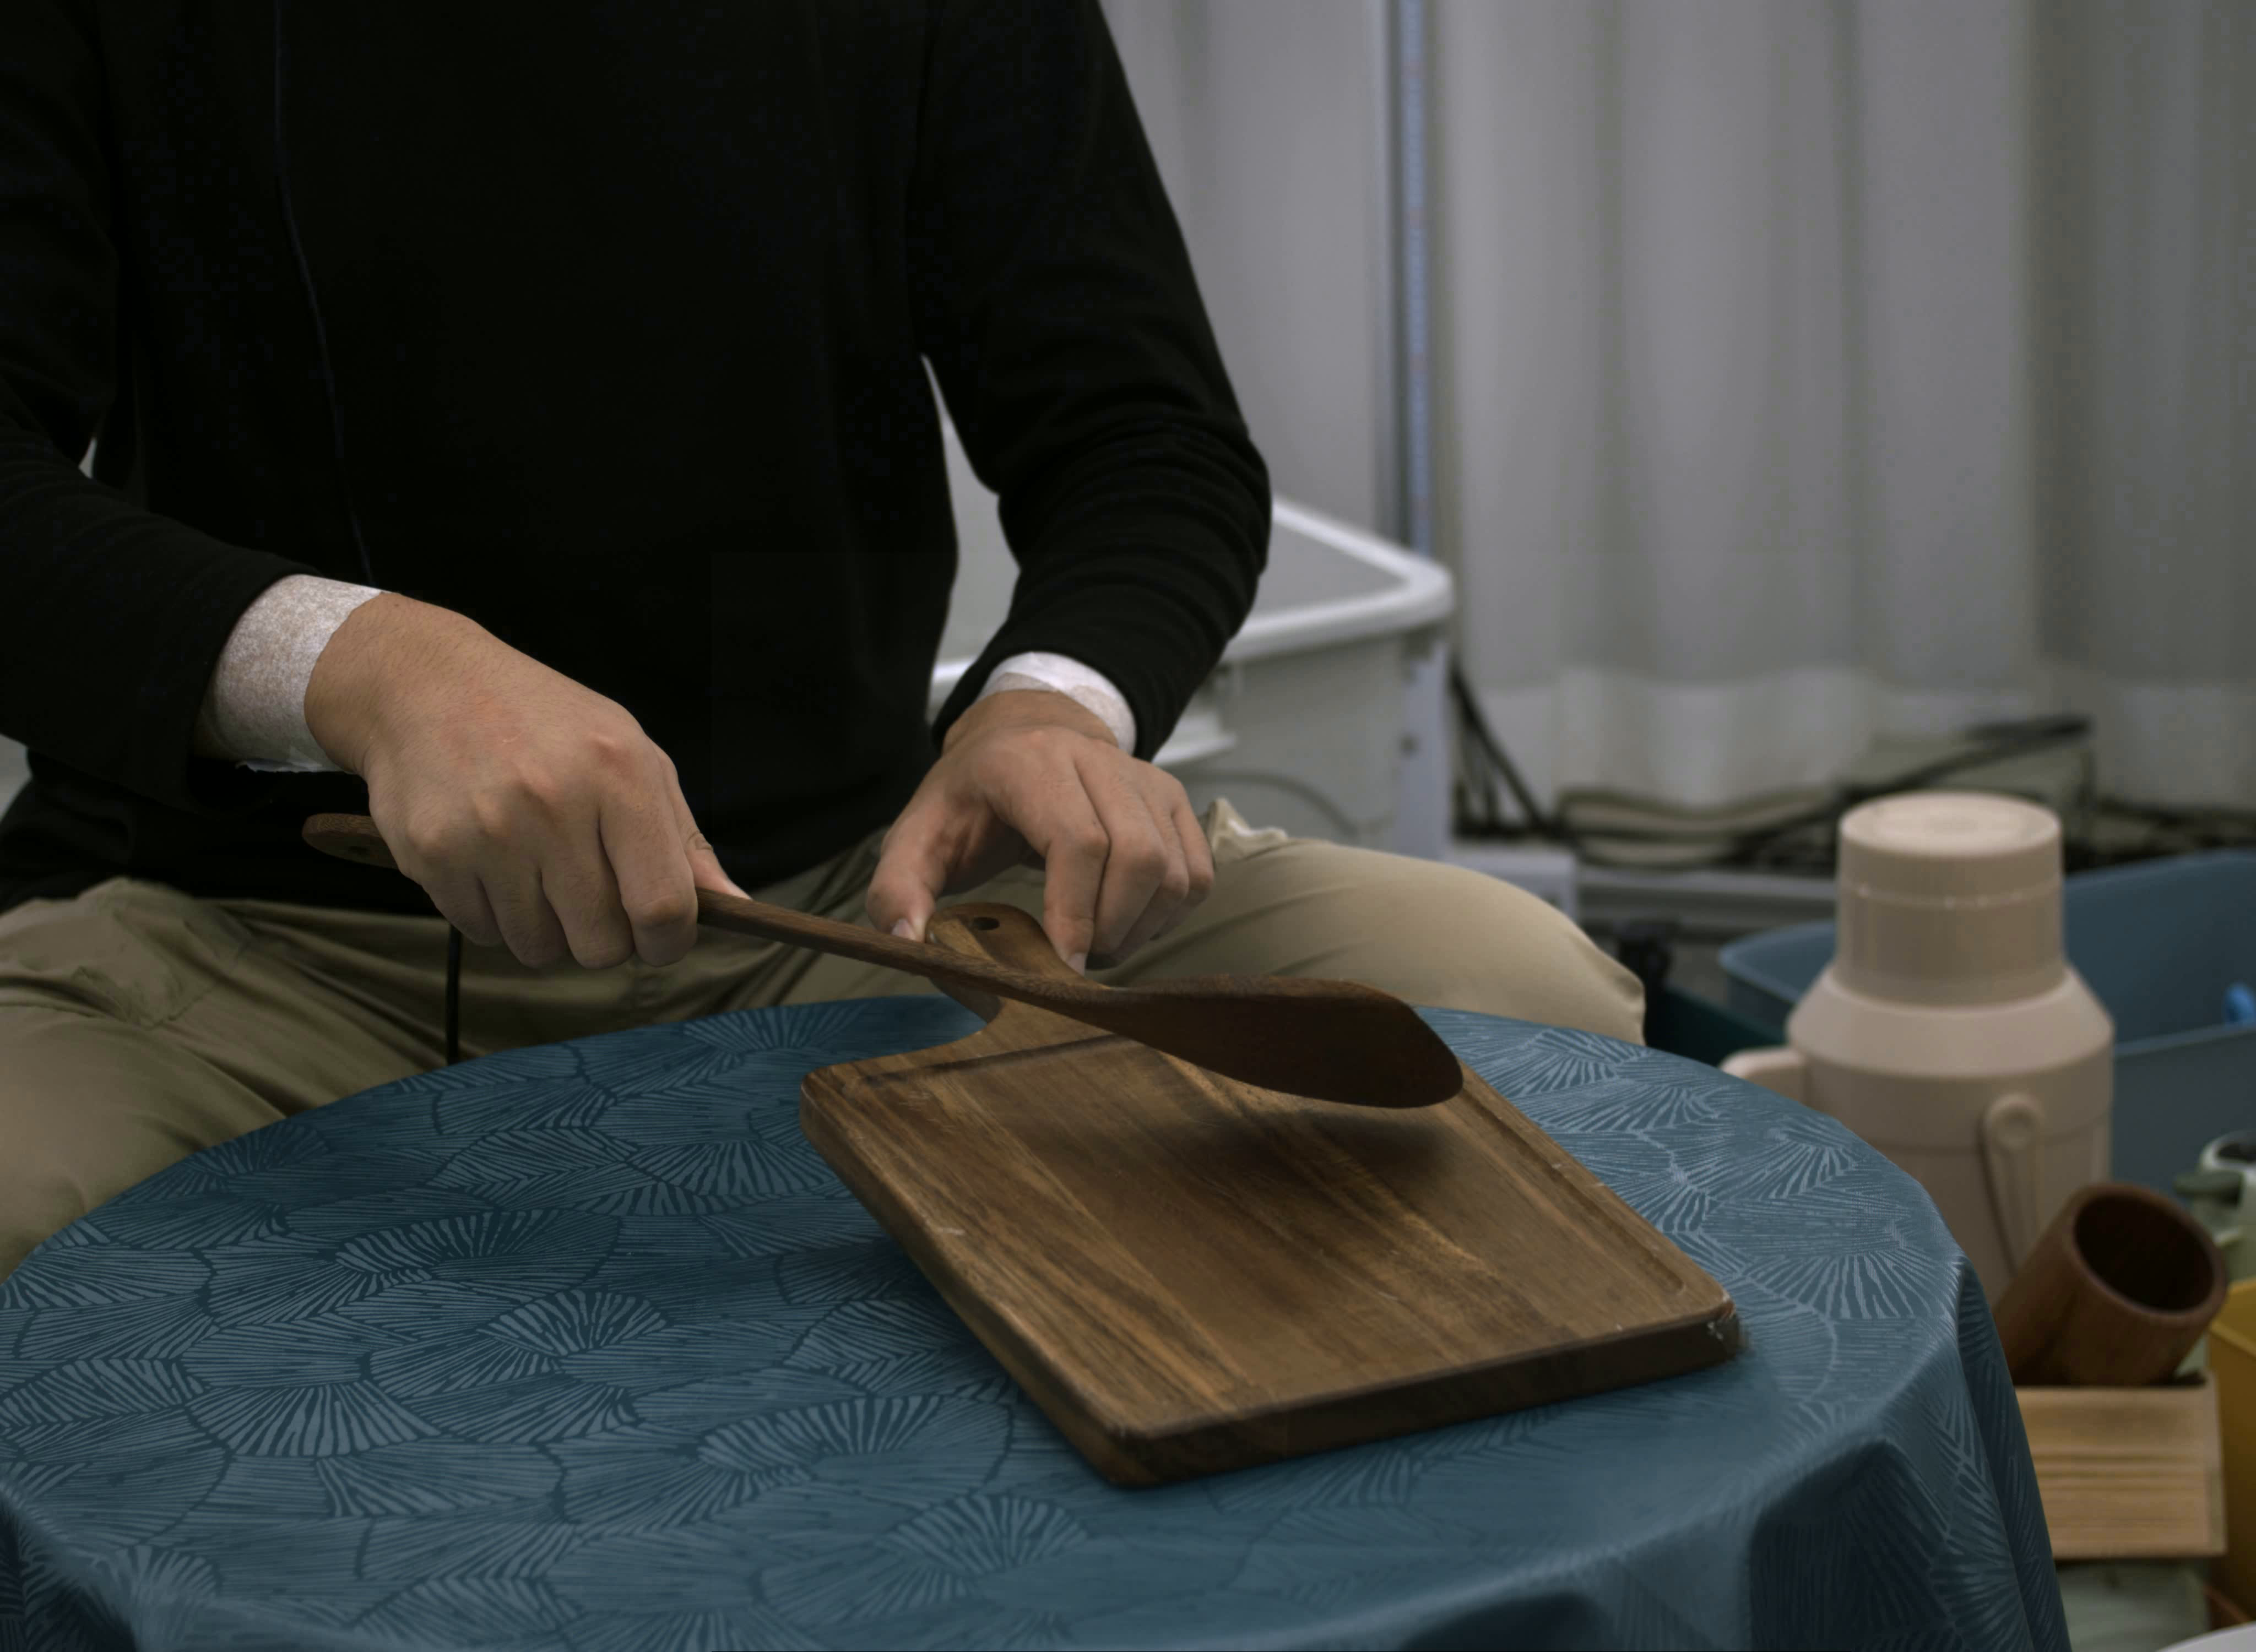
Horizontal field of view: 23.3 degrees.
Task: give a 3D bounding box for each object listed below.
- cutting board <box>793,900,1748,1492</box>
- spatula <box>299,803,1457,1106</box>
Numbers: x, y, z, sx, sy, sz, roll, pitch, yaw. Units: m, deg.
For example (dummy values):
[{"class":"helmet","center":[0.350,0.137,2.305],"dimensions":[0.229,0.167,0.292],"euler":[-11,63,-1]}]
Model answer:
[{"class":"cutting board","center":[0.016,0.095,1.648],"dimensions":[0.200,0.023,0.356],"euler":[-9,24,-22]},{"class":"spatula","center":[-0.083,0.035,1.669],"dimensions":[0.387,0.016,0.095],"euler":[12,-19,20]}]
